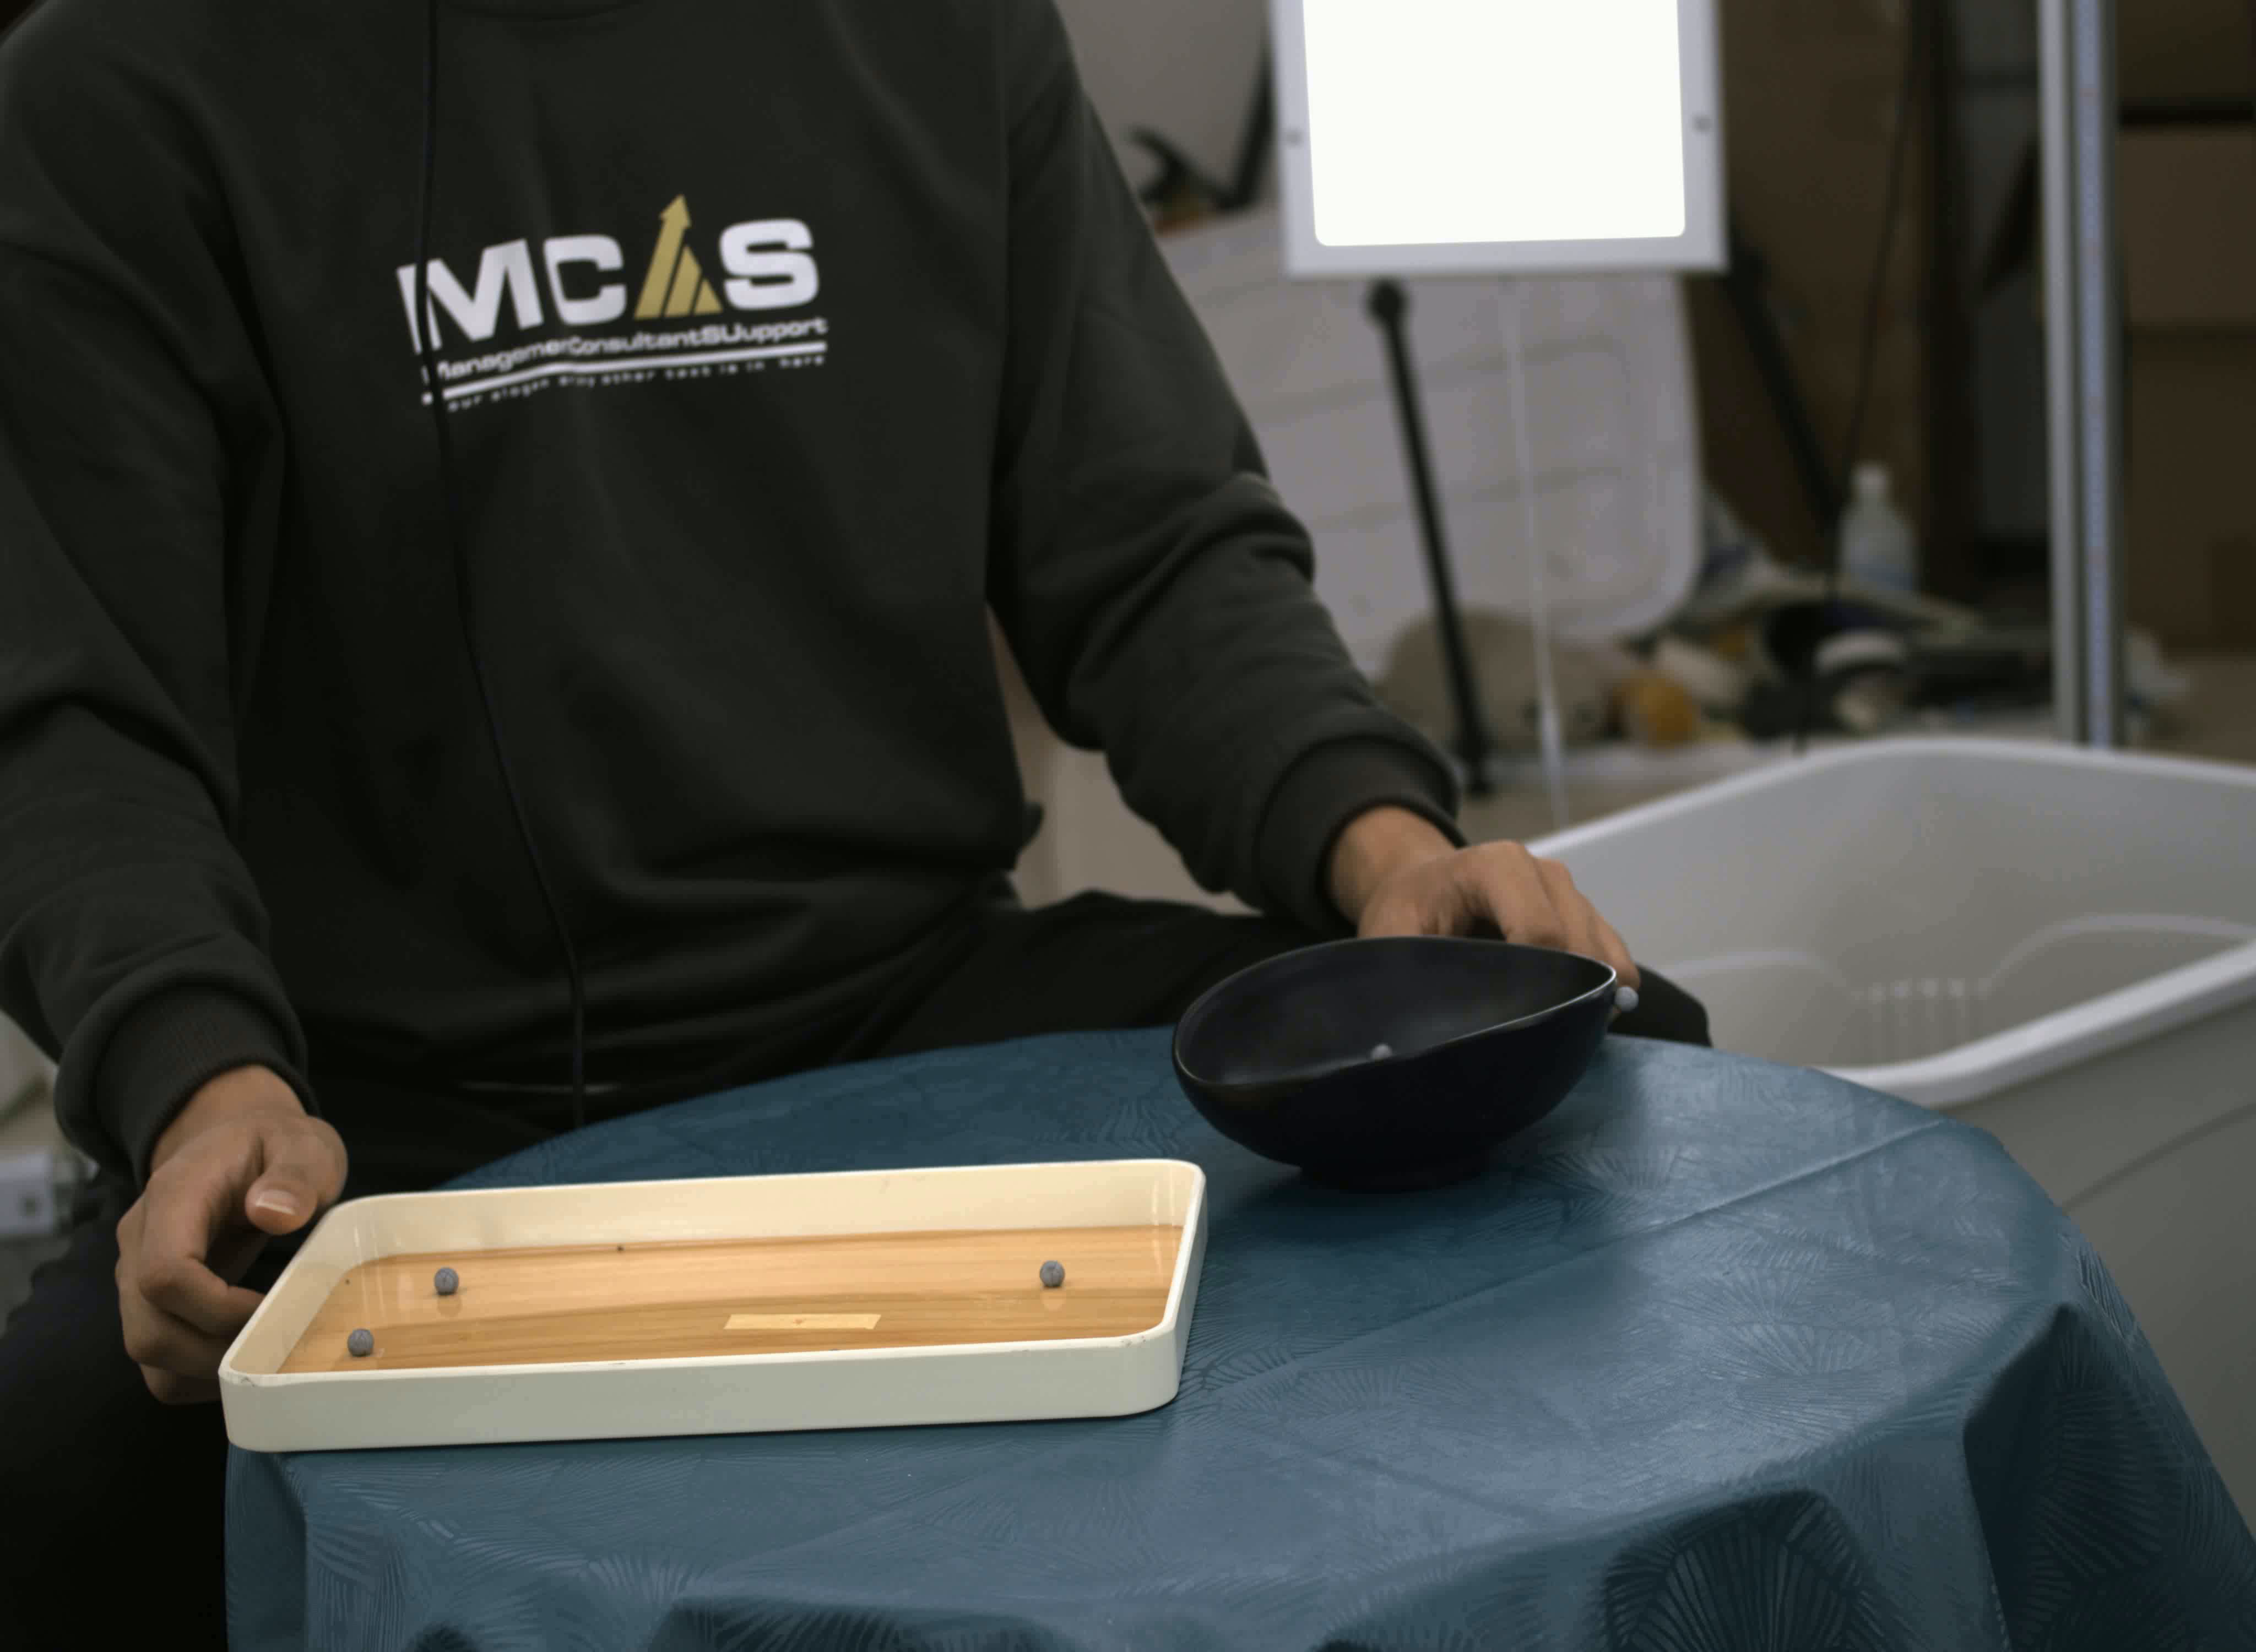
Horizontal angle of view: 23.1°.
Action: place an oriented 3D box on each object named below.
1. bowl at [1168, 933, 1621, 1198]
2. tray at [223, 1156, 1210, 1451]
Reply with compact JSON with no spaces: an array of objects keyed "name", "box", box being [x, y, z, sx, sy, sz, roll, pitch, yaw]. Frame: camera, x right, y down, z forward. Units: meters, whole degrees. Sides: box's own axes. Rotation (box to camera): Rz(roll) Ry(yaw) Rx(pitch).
[{"name":"bowl","box":[0.095,0.087,1.899,0.166,0.067,0.140,-17,16,-35]},{"name":"tray","box":[-0.127,0.153,1.780,0.301,0.027,0.190,-3,14,7]}]
